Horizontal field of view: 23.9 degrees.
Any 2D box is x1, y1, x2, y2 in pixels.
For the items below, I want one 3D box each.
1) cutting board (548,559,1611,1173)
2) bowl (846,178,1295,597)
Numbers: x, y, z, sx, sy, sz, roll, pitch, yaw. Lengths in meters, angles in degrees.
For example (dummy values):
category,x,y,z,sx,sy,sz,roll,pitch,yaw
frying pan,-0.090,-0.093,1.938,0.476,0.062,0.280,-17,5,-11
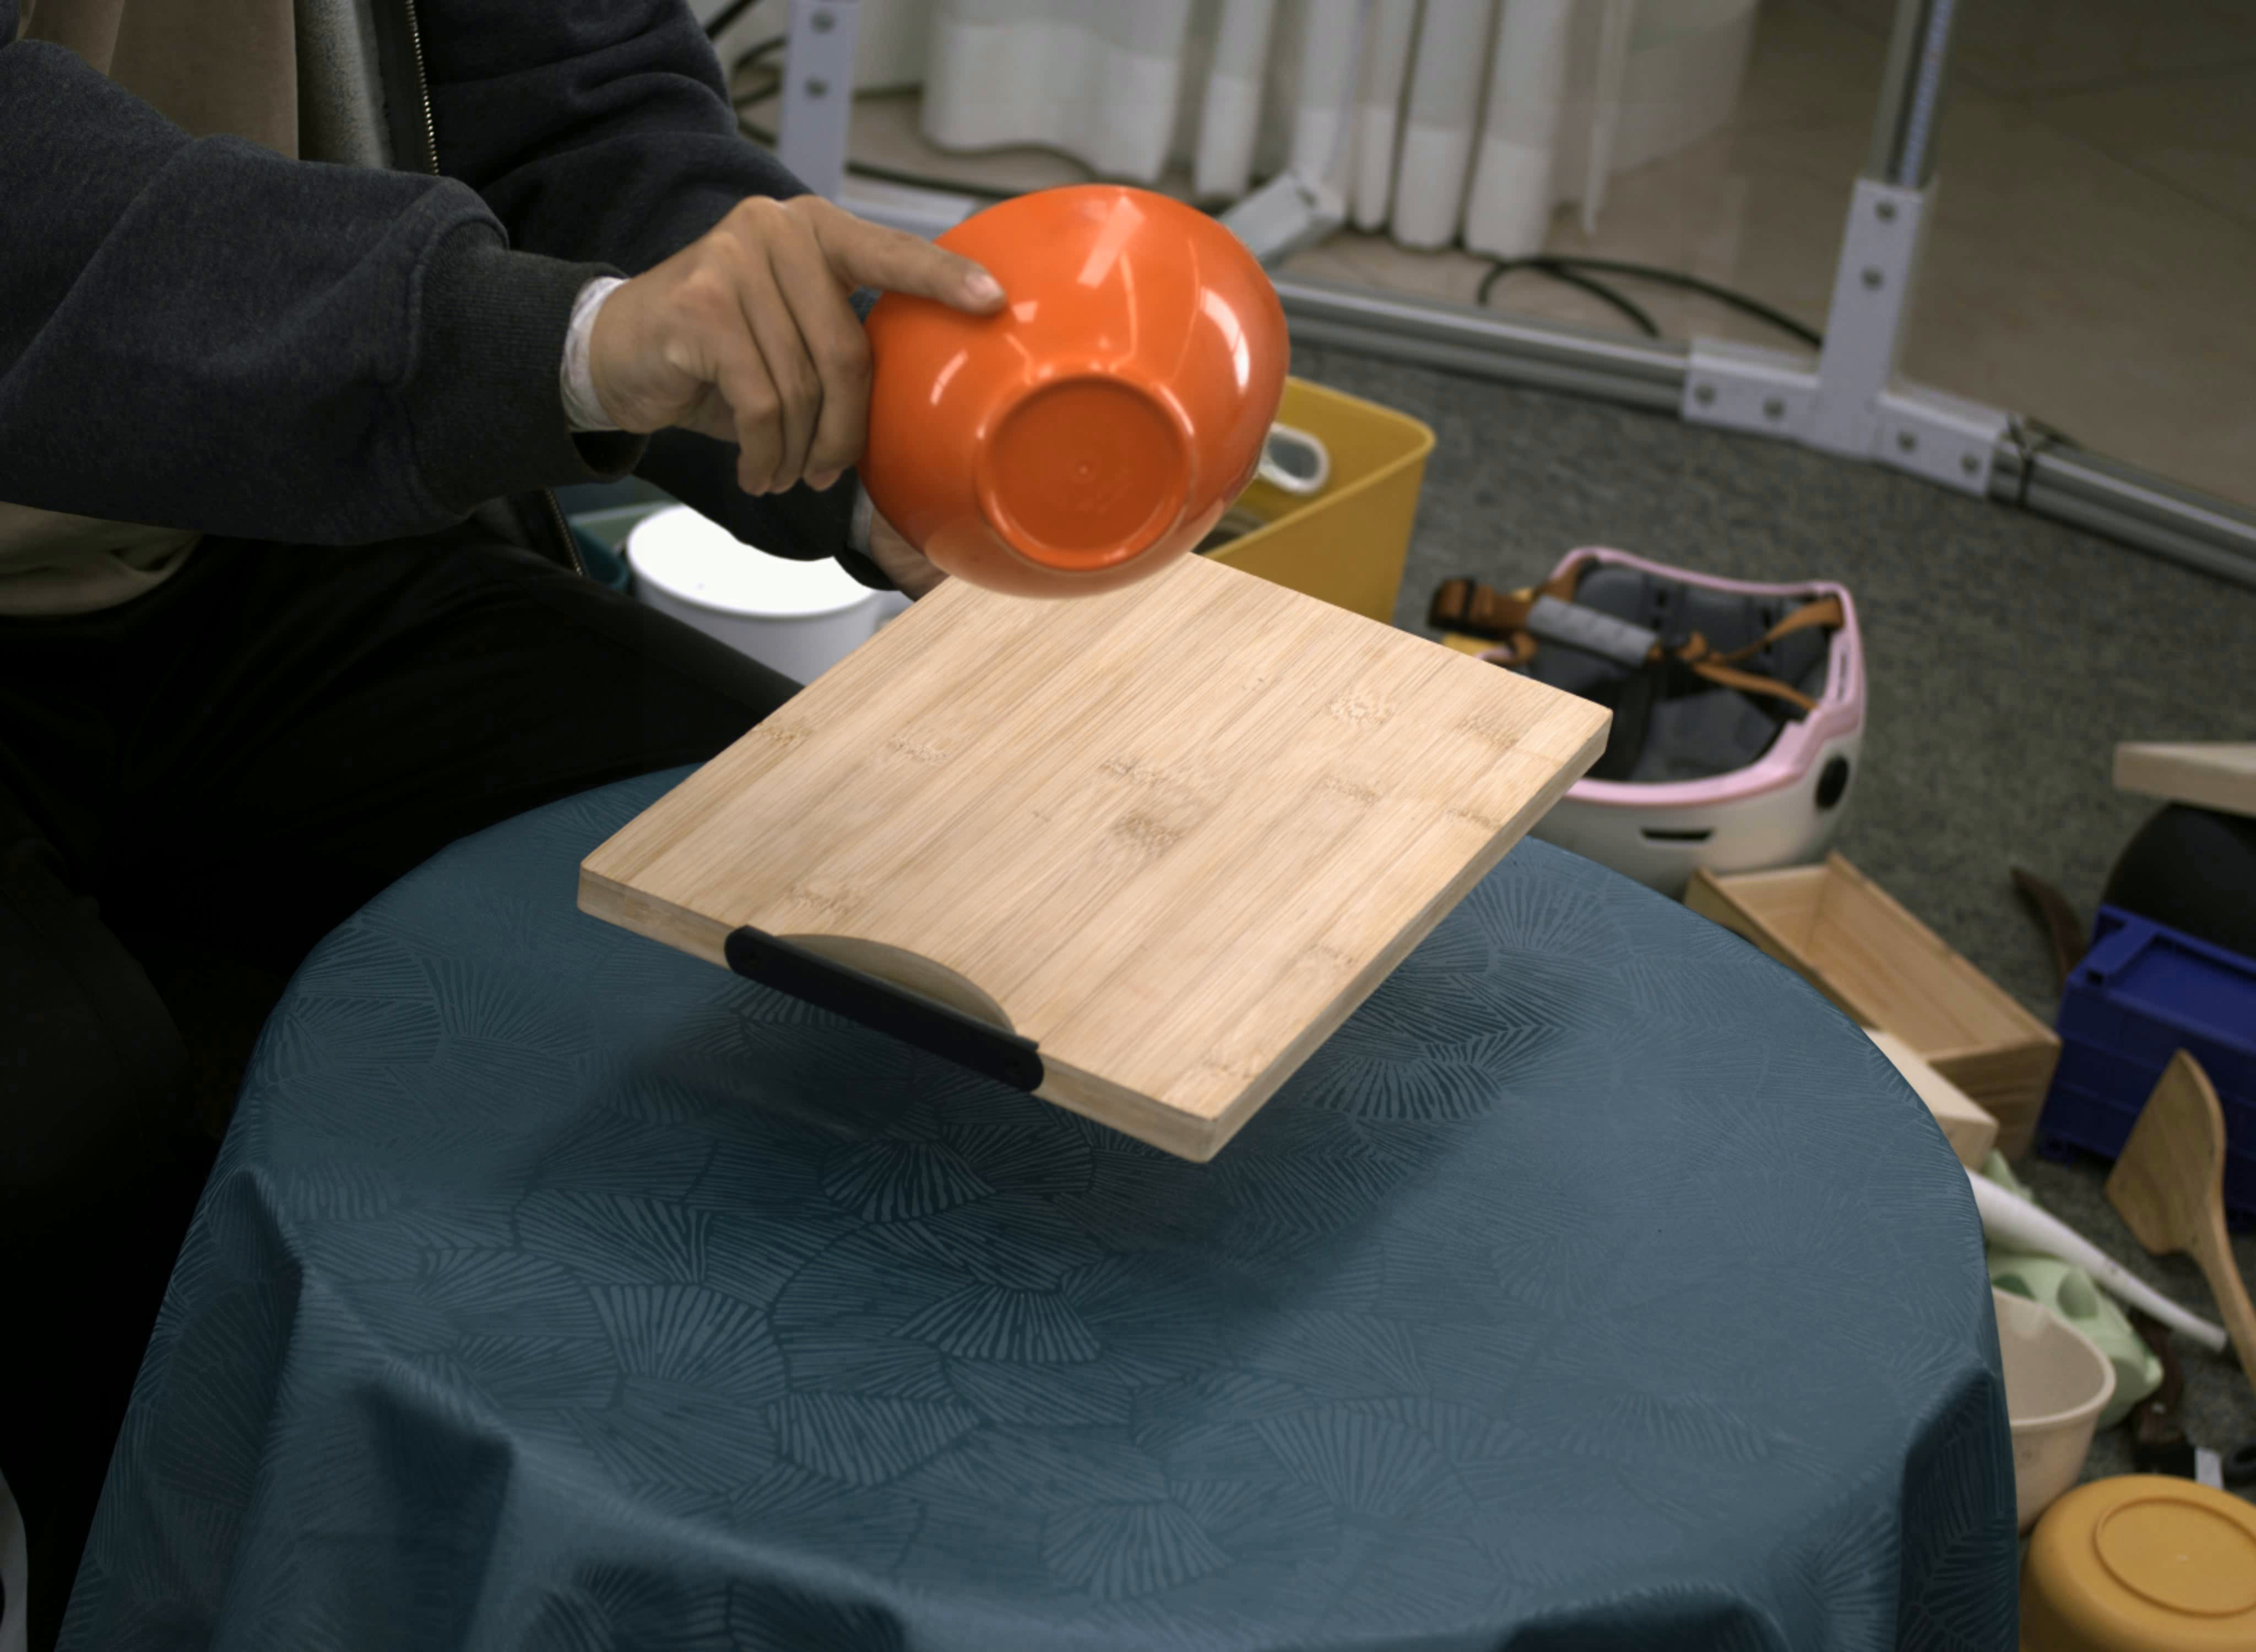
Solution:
category,x,y,z,sx,sy,sz,roll,pitch,yaw
cutting board,-0.007,-0.005,1.861,0.251,0.023,0.348,20,32,19
bowl,-0.013,-0.124,1.681,0.147,0.147,0.105,3,25,-8
